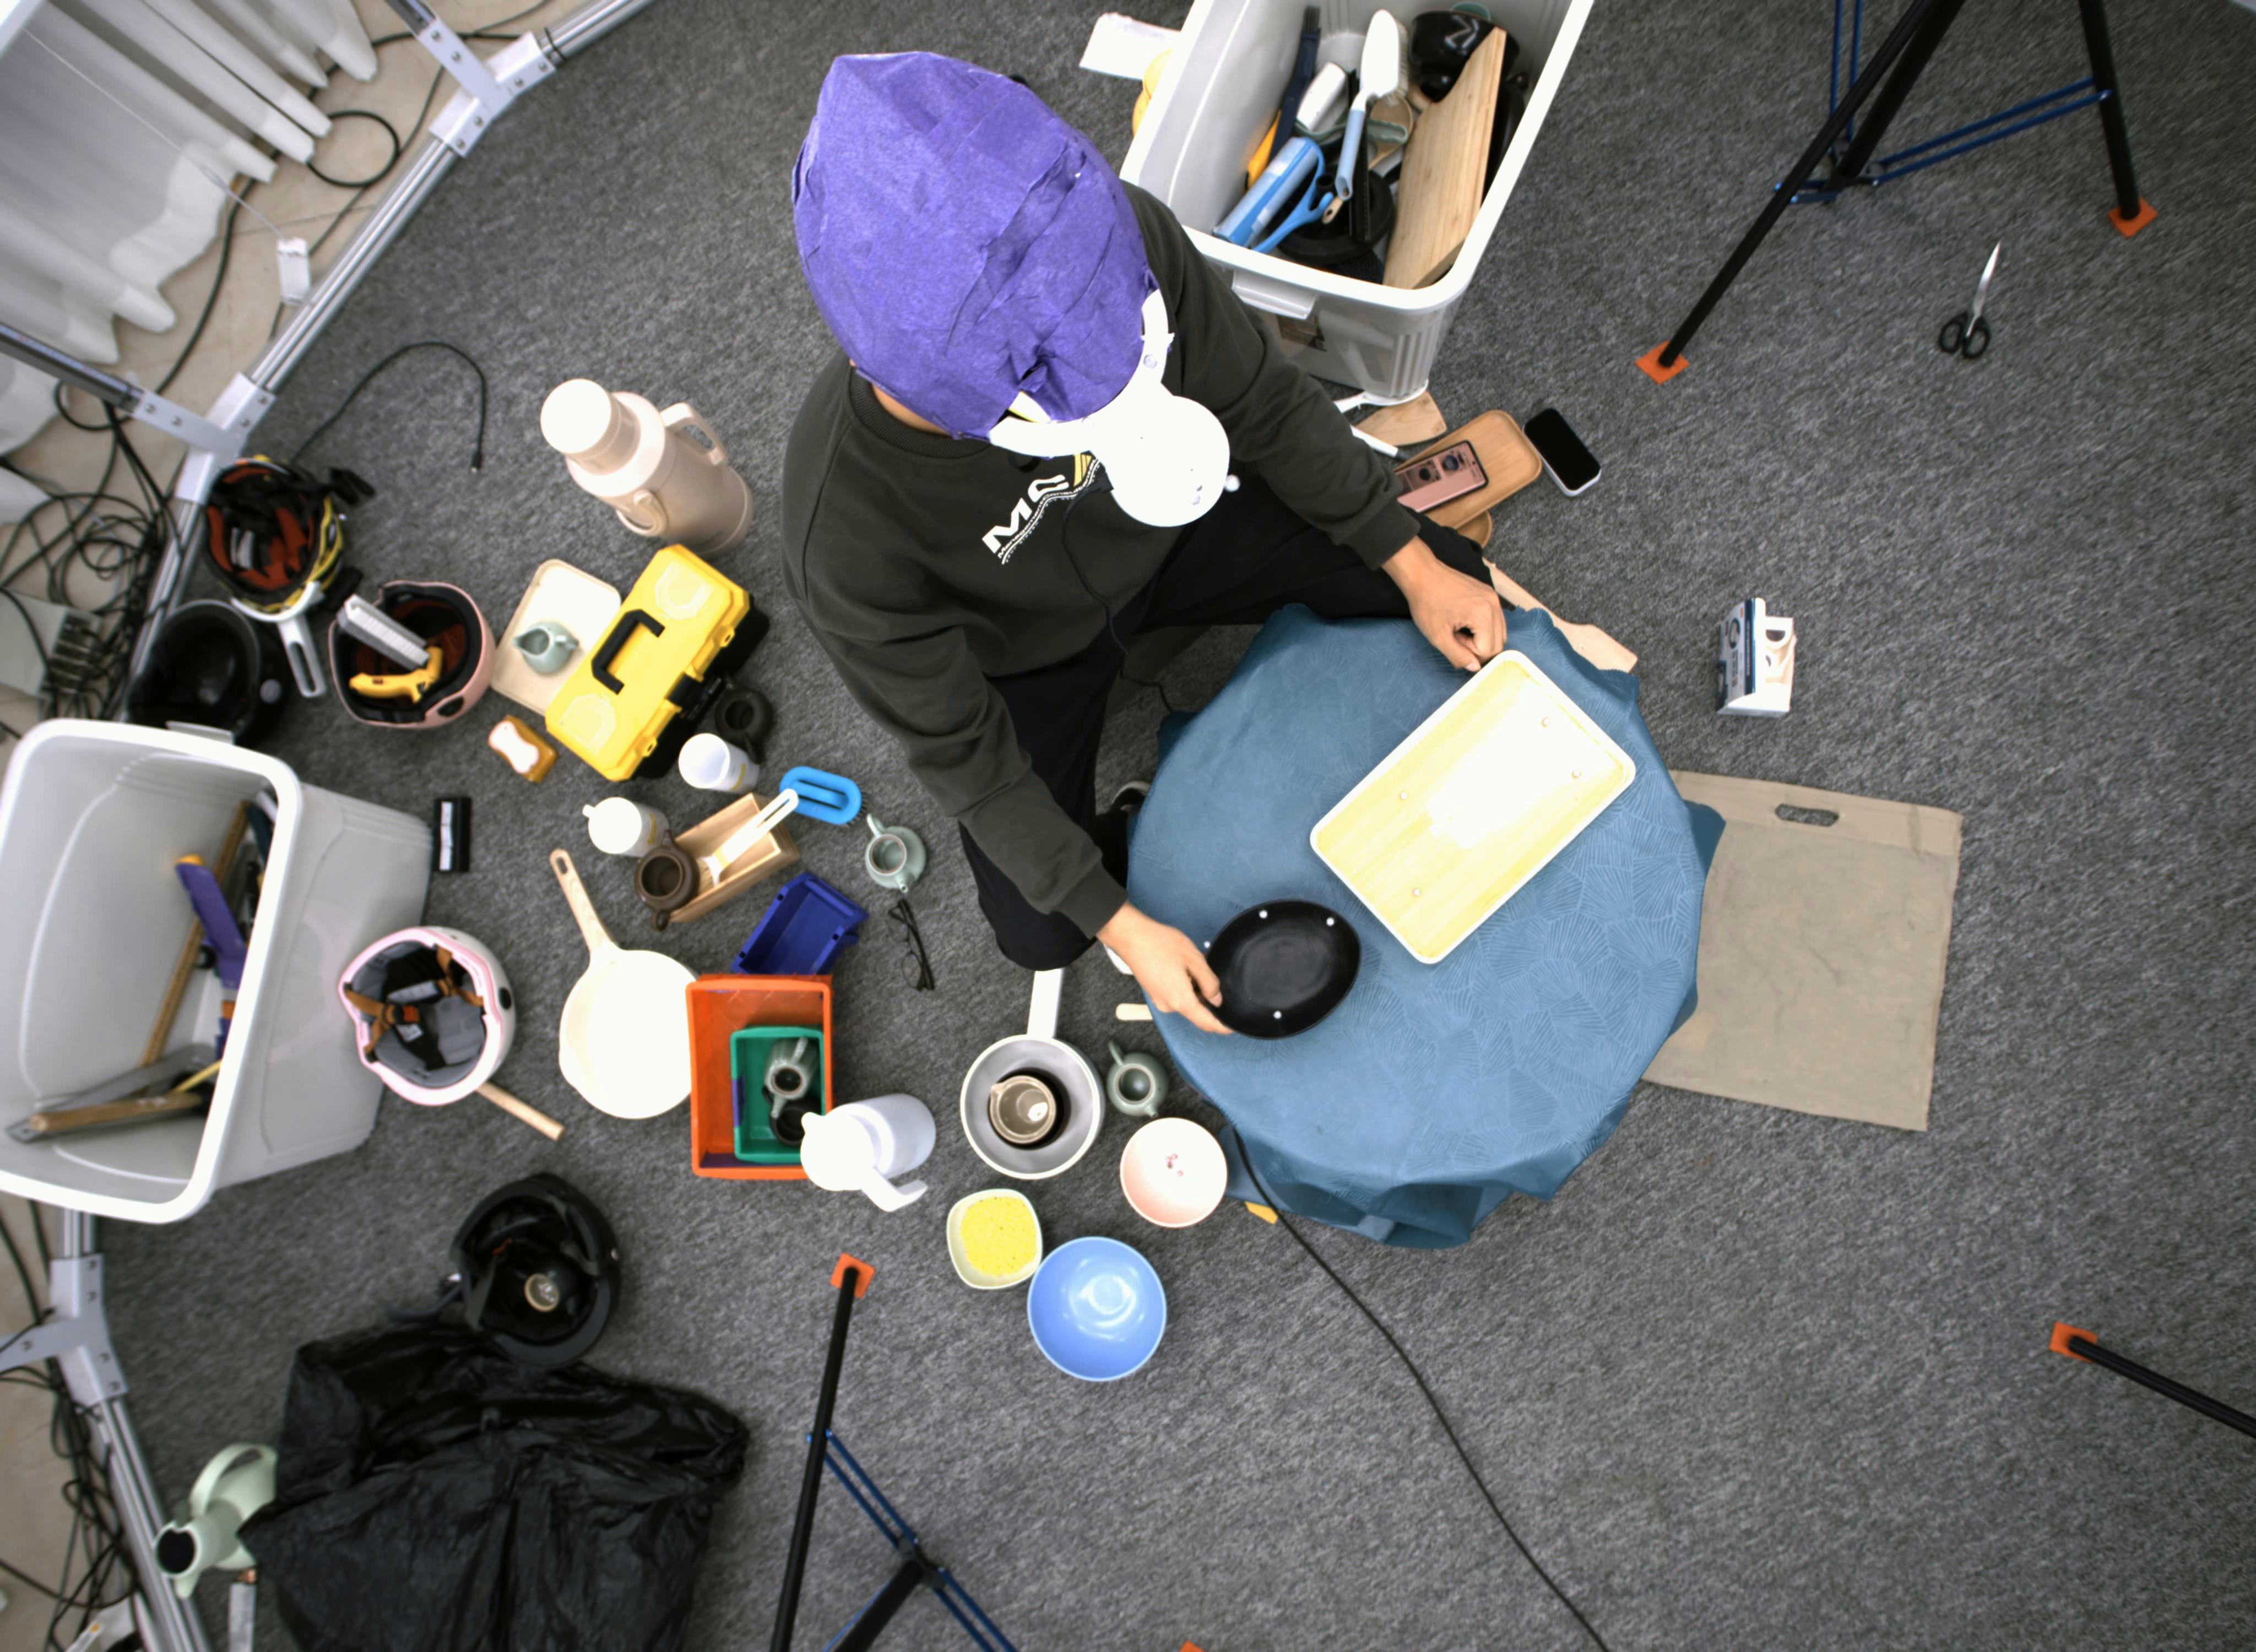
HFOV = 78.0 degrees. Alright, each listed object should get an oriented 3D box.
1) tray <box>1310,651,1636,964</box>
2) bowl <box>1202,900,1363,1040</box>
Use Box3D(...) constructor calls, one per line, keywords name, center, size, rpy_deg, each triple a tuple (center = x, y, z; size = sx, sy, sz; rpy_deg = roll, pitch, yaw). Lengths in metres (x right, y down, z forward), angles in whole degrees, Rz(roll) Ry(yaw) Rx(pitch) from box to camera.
Box3D(name="tray", center=(0.357, -0.021, 1.435), size=(0.301, 0.027, 0.190), rpy_deg=(-44, 80, 6))
Box3D(name="bowl", center=(0.161, 0.147, 1.443), size=(0.171, 0.066, 0.136), rpy_deg=(-27, 84, 8))
